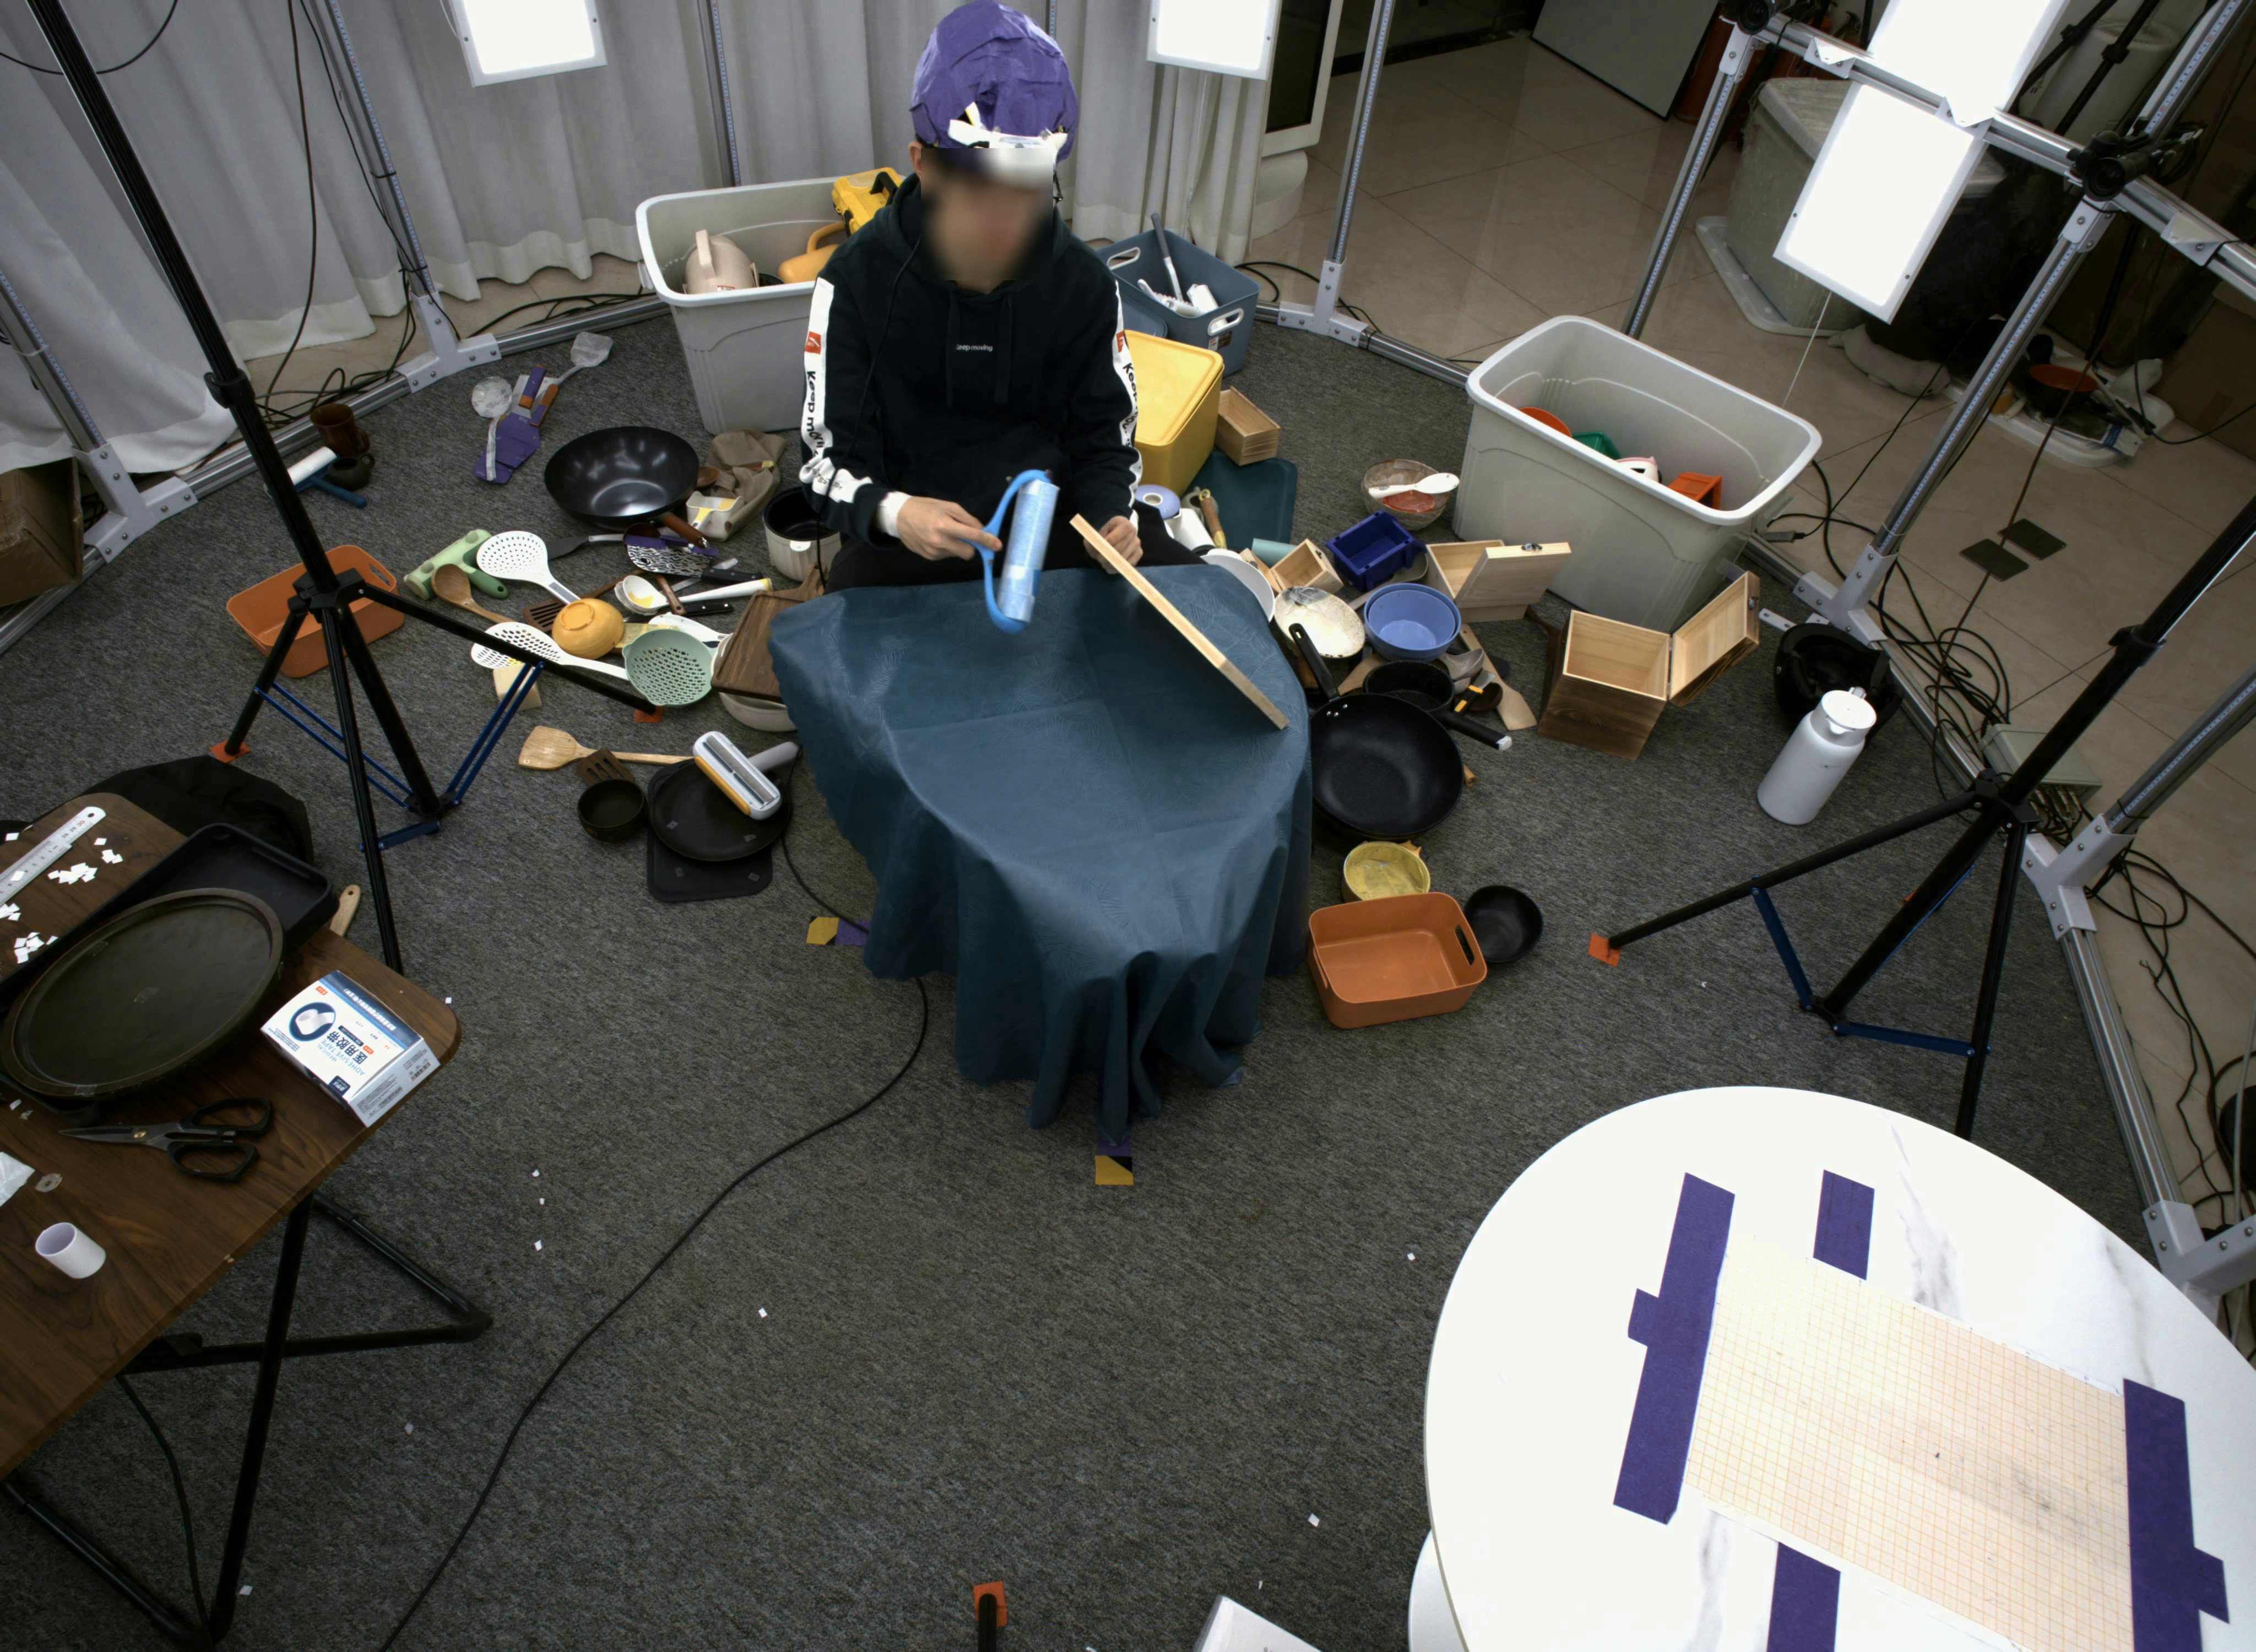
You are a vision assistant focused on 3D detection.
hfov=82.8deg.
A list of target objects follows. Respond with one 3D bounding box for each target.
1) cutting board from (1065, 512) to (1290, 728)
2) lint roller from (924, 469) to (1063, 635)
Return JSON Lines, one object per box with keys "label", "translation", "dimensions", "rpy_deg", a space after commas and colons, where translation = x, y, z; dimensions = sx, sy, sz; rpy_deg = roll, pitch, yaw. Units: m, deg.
{"label": "cutting board", "translation": [0.070, -0.285, 1.789], "dimensions": [0.023, 0.247, 0.355], "rpy_deg": [-46, 60, 8]}
{"label": "lint roller", "translation": [-0.192, -0.388, 1.784], "dimensions": [0.180, 0.228, 0.068], "rpy_deg": [8, 7, -6]}
